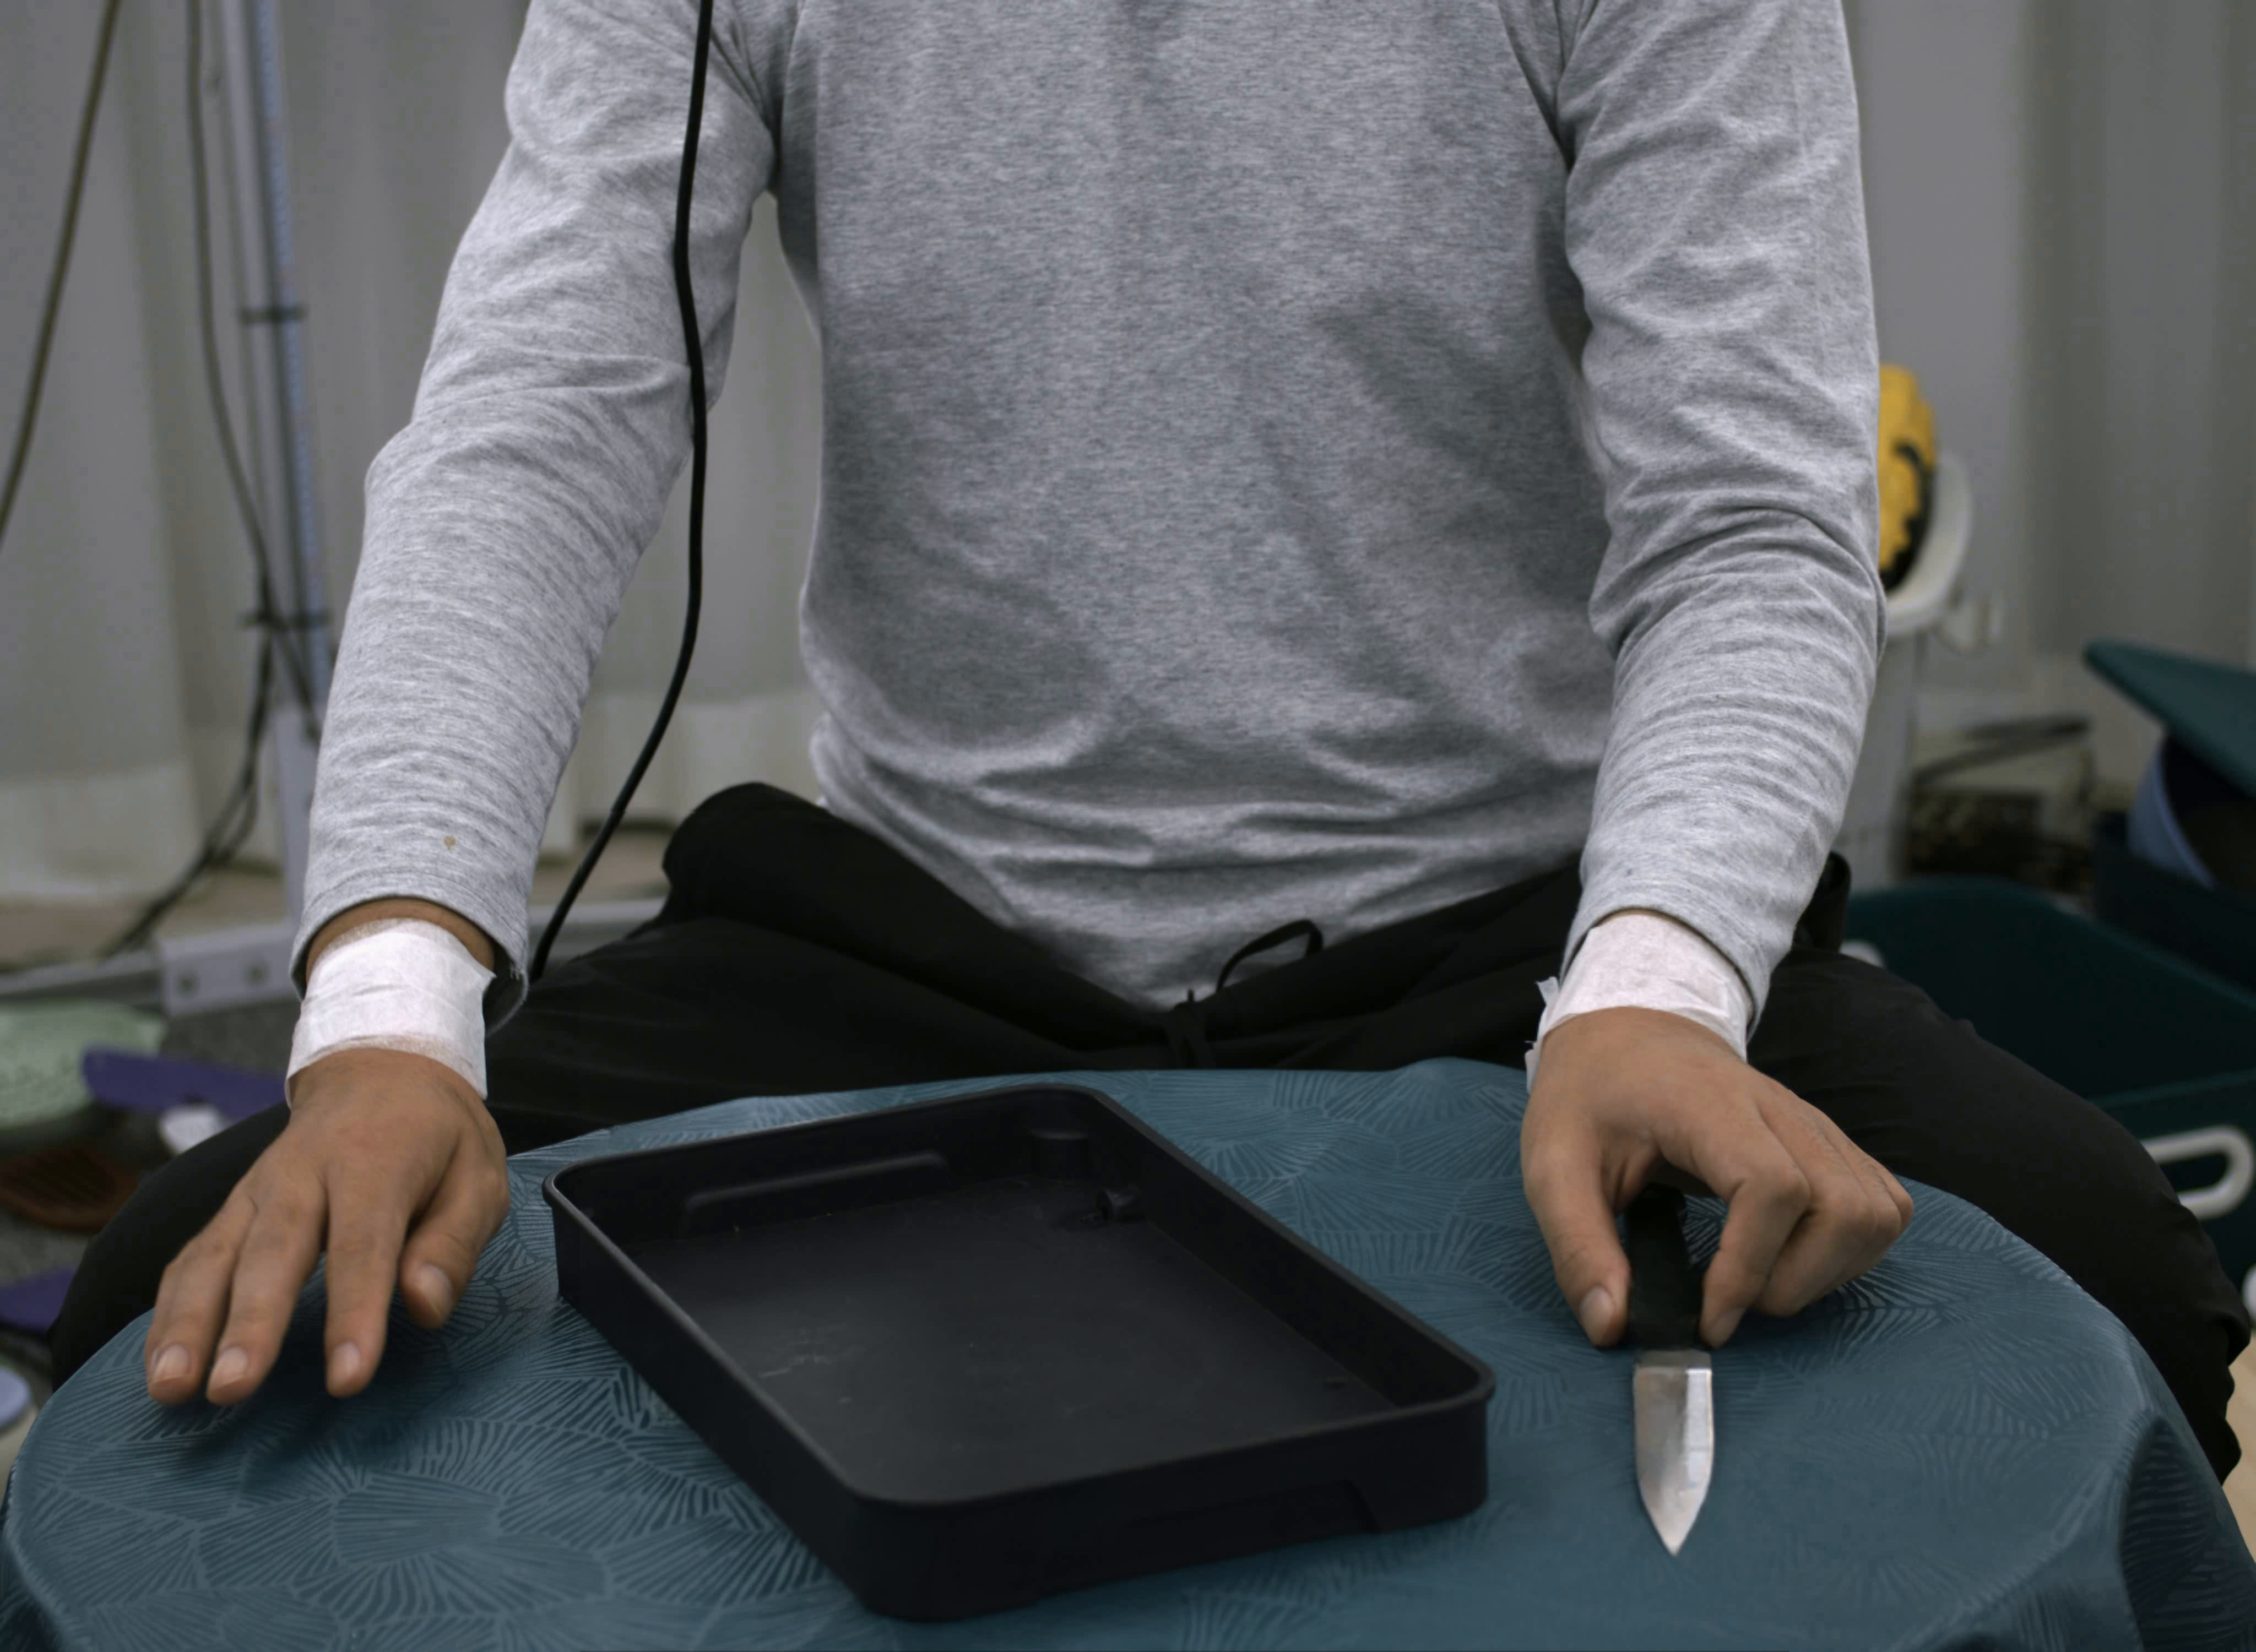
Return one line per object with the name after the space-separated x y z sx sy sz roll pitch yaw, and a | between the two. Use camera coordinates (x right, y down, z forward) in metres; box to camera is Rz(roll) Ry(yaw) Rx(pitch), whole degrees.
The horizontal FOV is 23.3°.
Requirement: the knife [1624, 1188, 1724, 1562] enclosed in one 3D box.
0.150 0.152 1.521 0.024 0.016 0.240 -2 18 4 | knife

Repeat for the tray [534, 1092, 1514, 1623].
-0.037 0.144 1.547 0.183 0.037 0.320 -8 15 -22 | tray
